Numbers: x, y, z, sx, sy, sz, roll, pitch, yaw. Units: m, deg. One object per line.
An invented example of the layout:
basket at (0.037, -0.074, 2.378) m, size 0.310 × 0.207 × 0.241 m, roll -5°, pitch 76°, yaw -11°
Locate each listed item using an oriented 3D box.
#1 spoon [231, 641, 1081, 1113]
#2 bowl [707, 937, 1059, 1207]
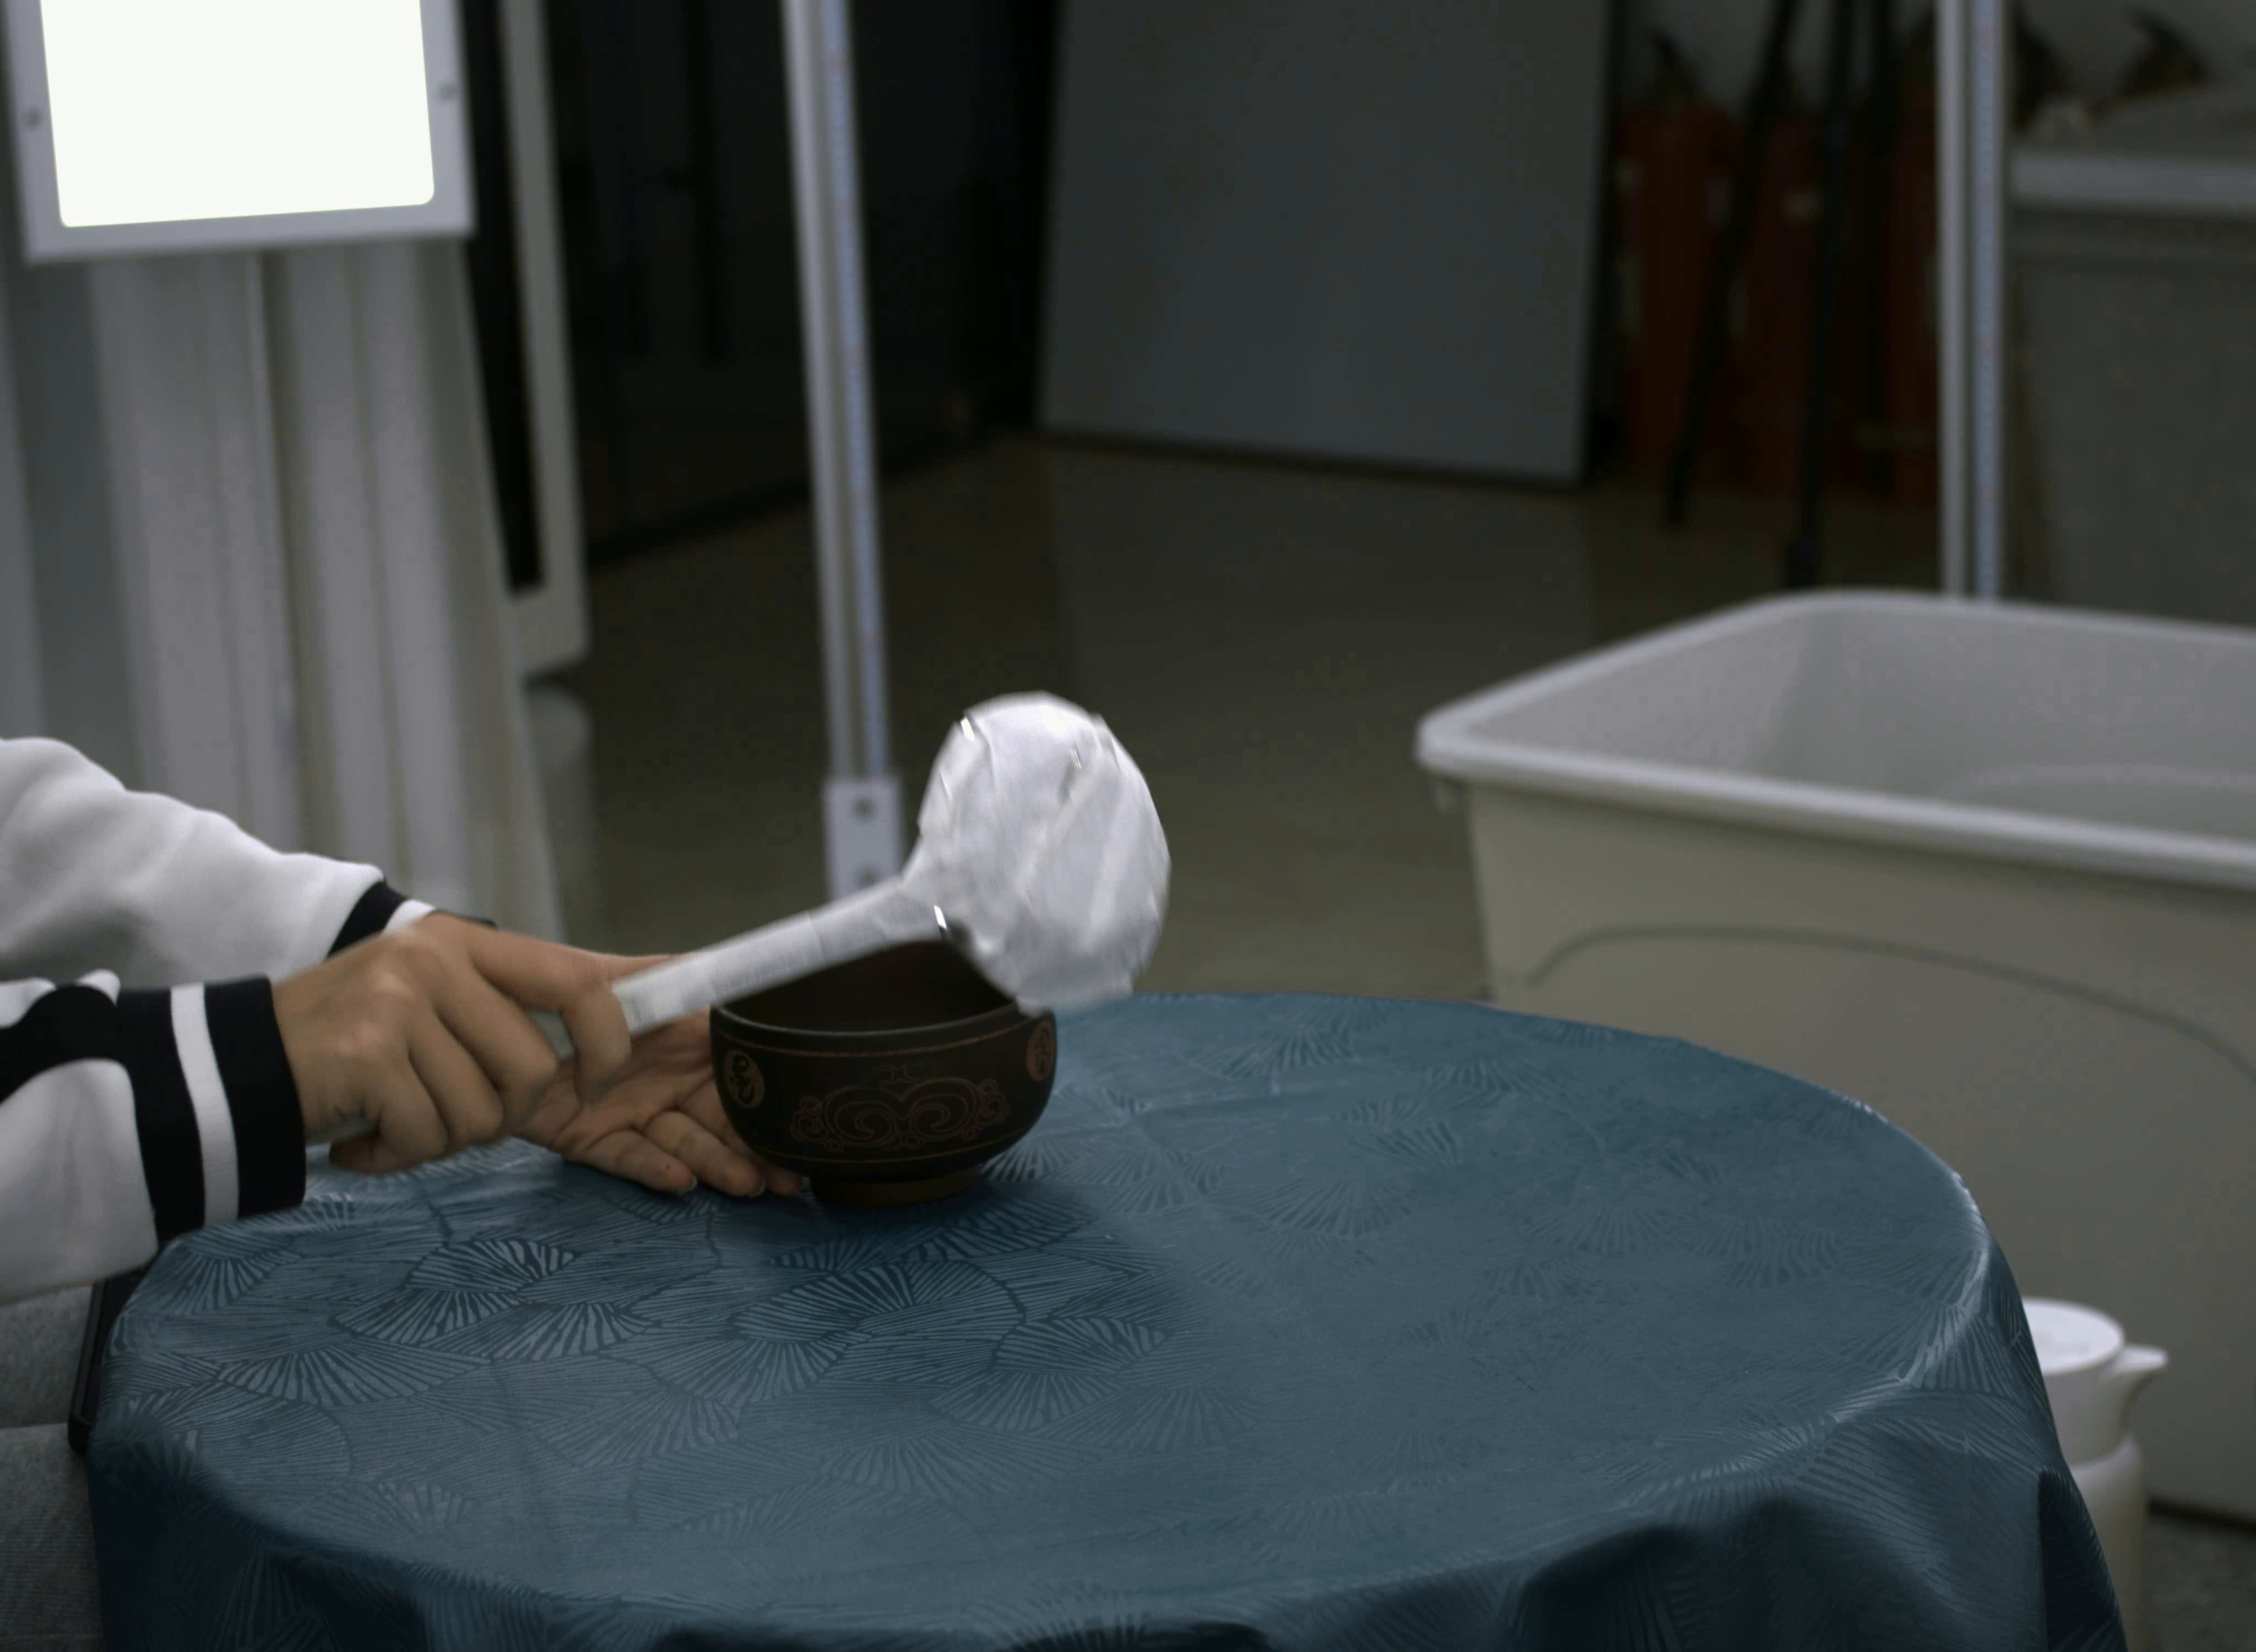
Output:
spoon at (-0.136, 0.026, 1.607) m, size 0.273 × 0.101 × 0.060 m, roll -19°, pitch 32°, yaw -6°
bowl at (-0.080, 0.085, 1.789) m, size 0.116 × 0.070 × 0.118 m, roll -4°, pitch 13°, yaw 0°
